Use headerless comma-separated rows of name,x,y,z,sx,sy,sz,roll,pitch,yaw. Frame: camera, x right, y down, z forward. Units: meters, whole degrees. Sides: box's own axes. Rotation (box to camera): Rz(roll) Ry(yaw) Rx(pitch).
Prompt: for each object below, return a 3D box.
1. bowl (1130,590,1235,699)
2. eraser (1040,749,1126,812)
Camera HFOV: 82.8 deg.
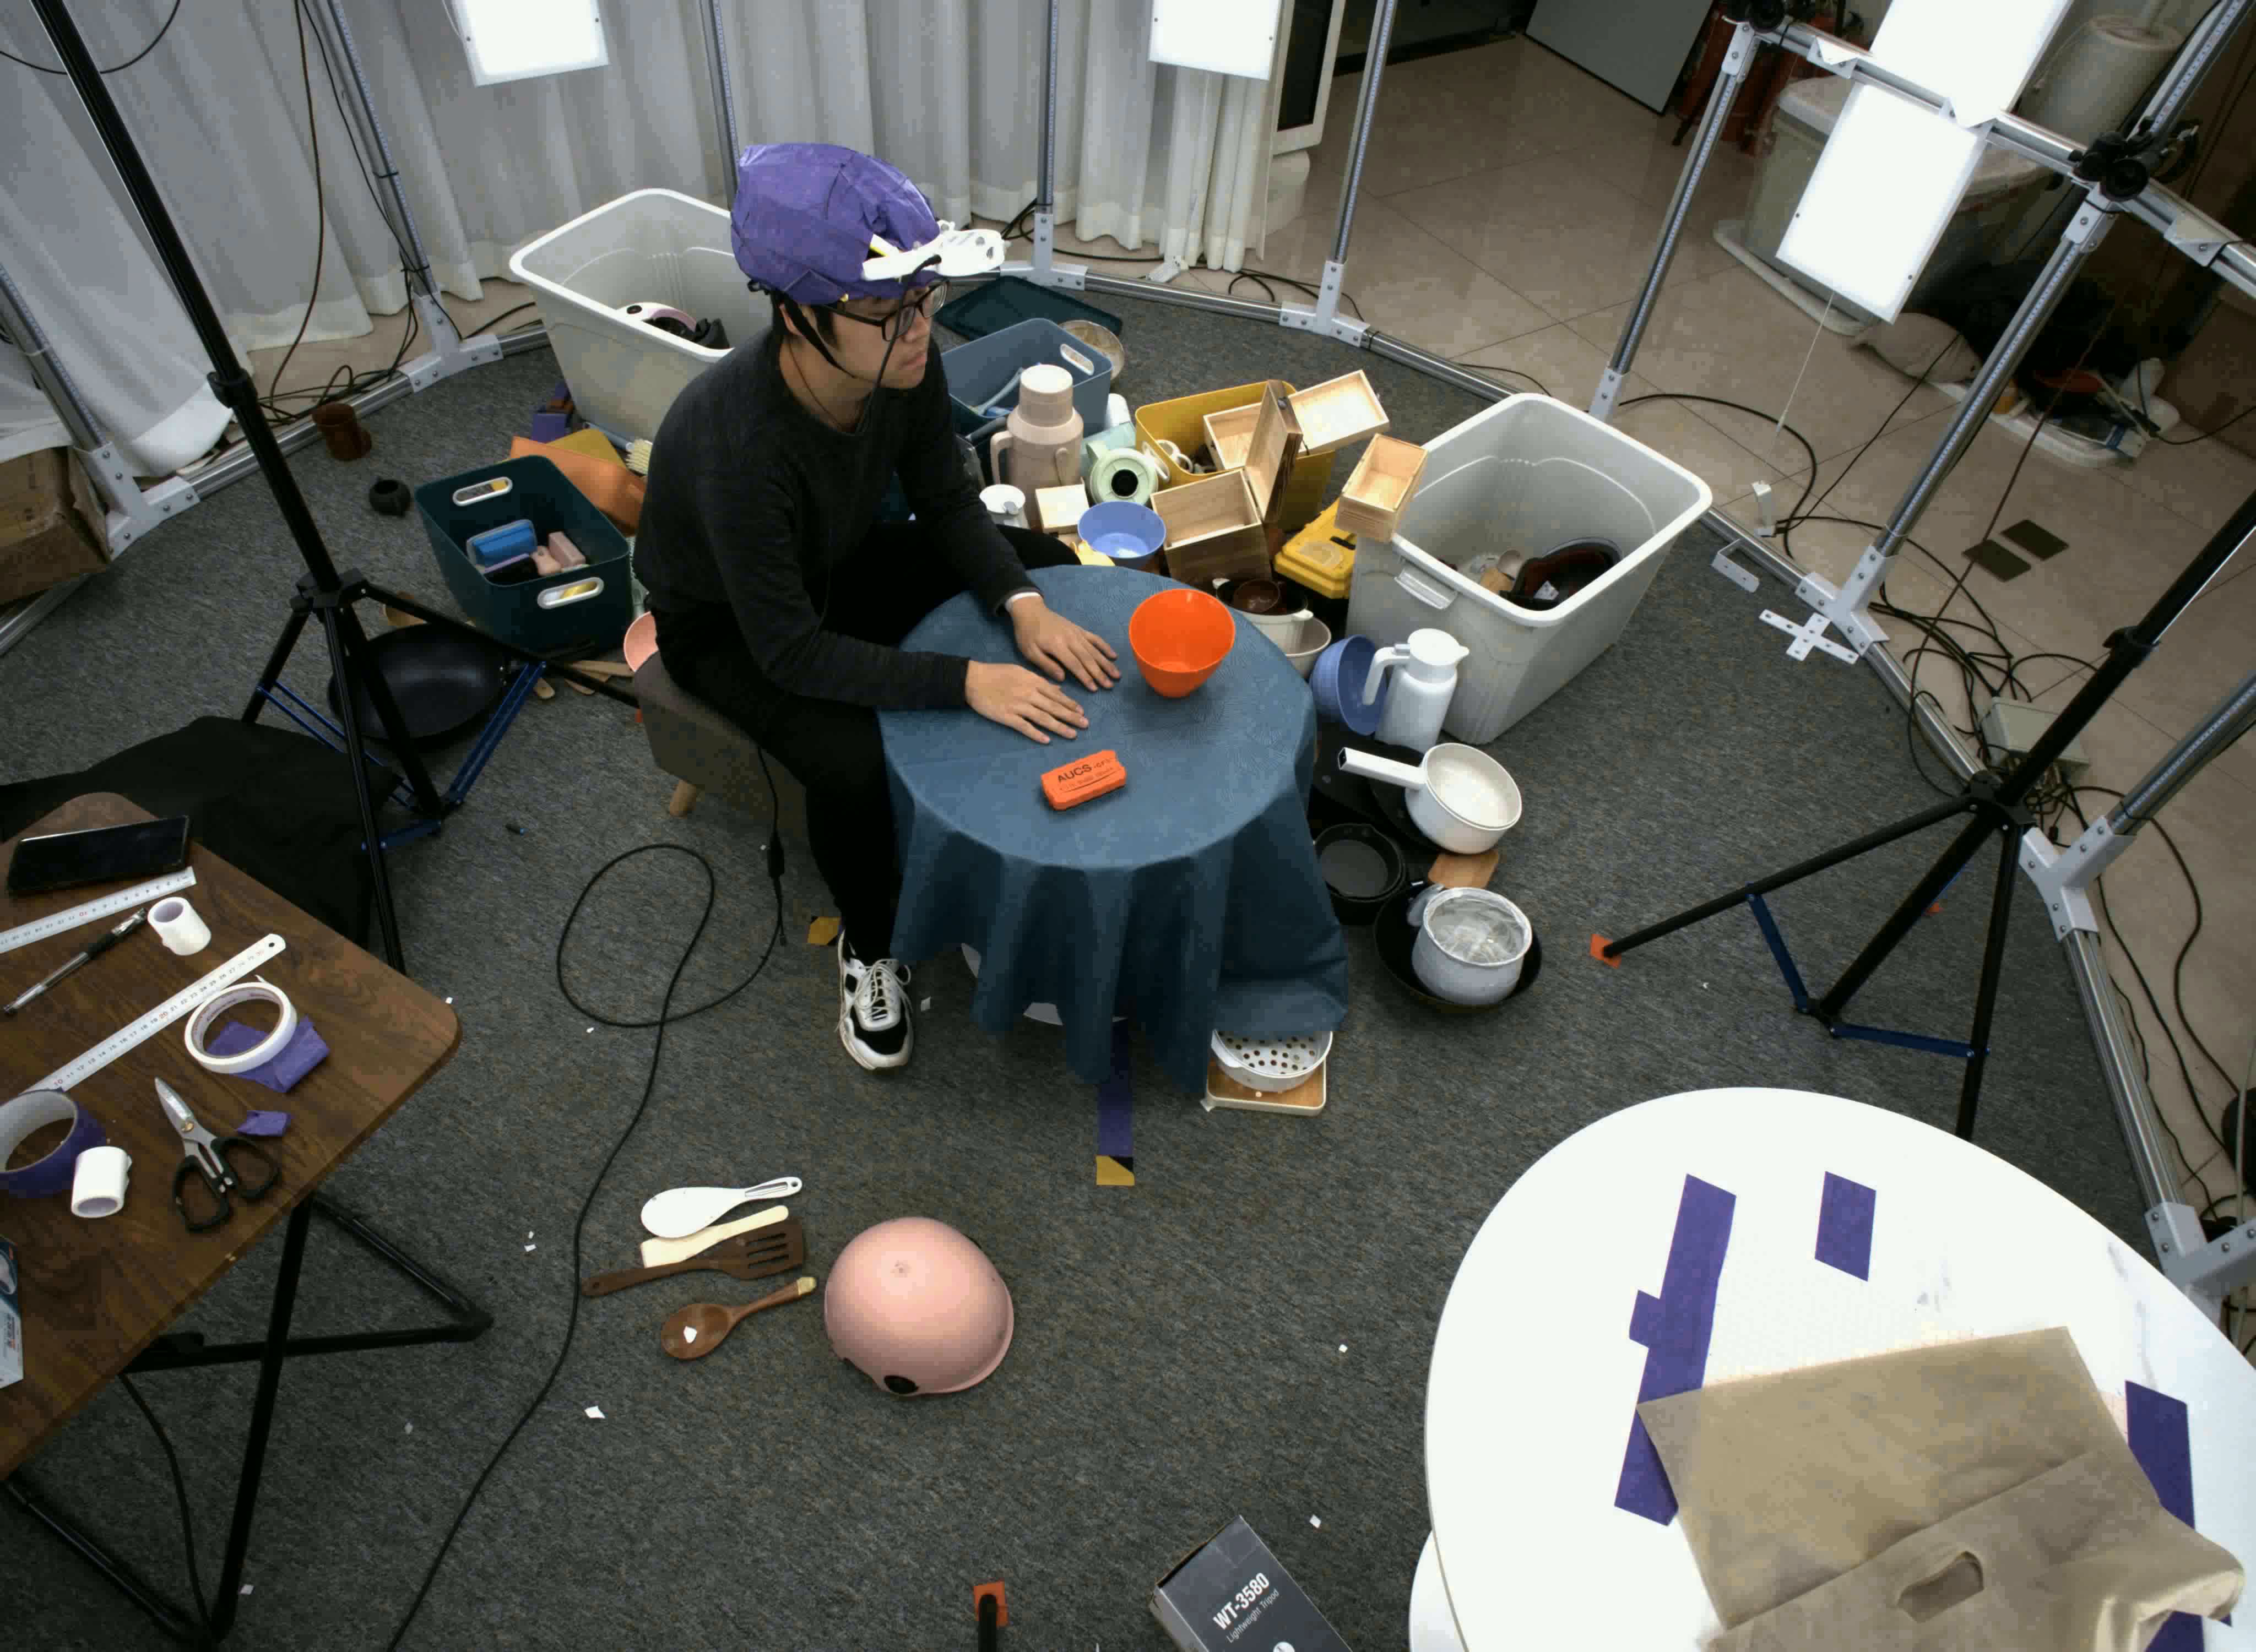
bowl,0.073,-0.247,1.824,0.148,0.102,0.152,2,50,-3
eraser,-0.059,-0.061,1.700,0.108,0.022,0.060,-23,56,-23
